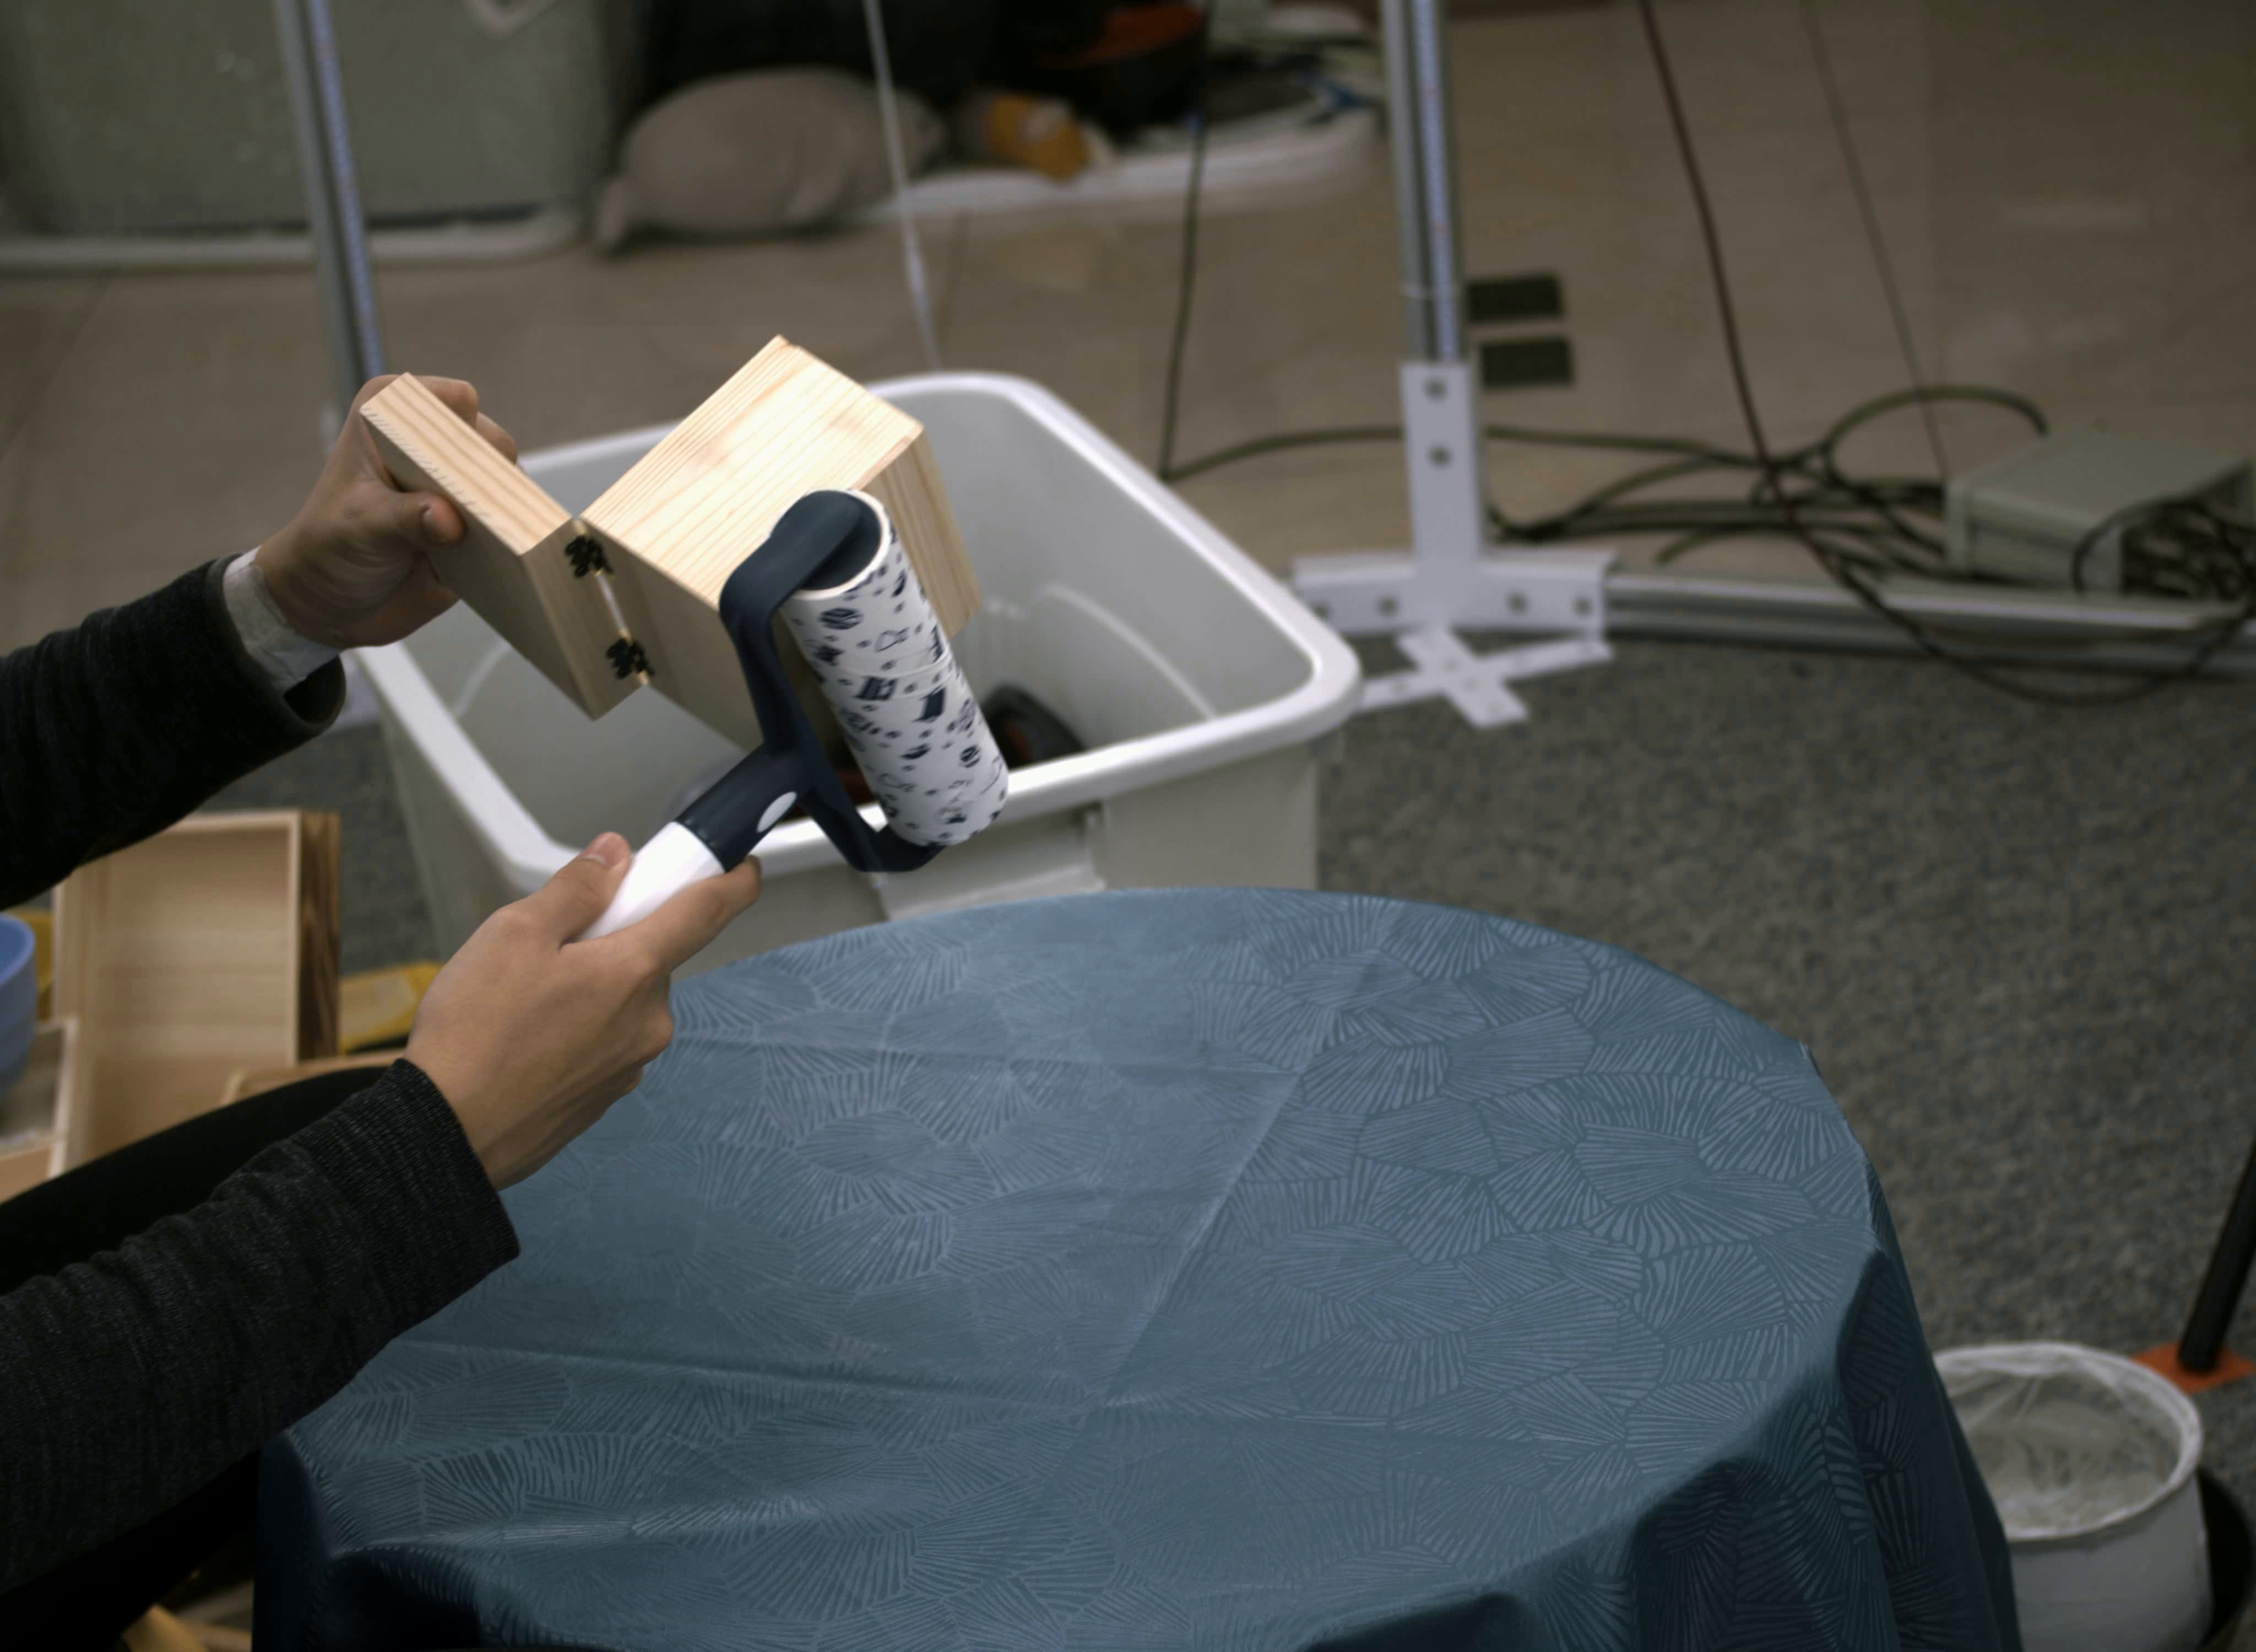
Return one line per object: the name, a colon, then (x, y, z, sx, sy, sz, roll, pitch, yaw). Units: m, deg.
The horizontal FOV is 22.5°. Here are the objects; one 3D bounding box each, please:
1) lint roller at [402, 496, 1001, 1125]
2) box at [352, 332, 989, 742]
lint roller: (-0.153, 0.017, 1.966, 0.050, 0.179, 0.245, 35, 75, 31)
box: (-0.164, -0.115, 2.041, 0.182, 0.104, 0.133, 33, 68, 31)
